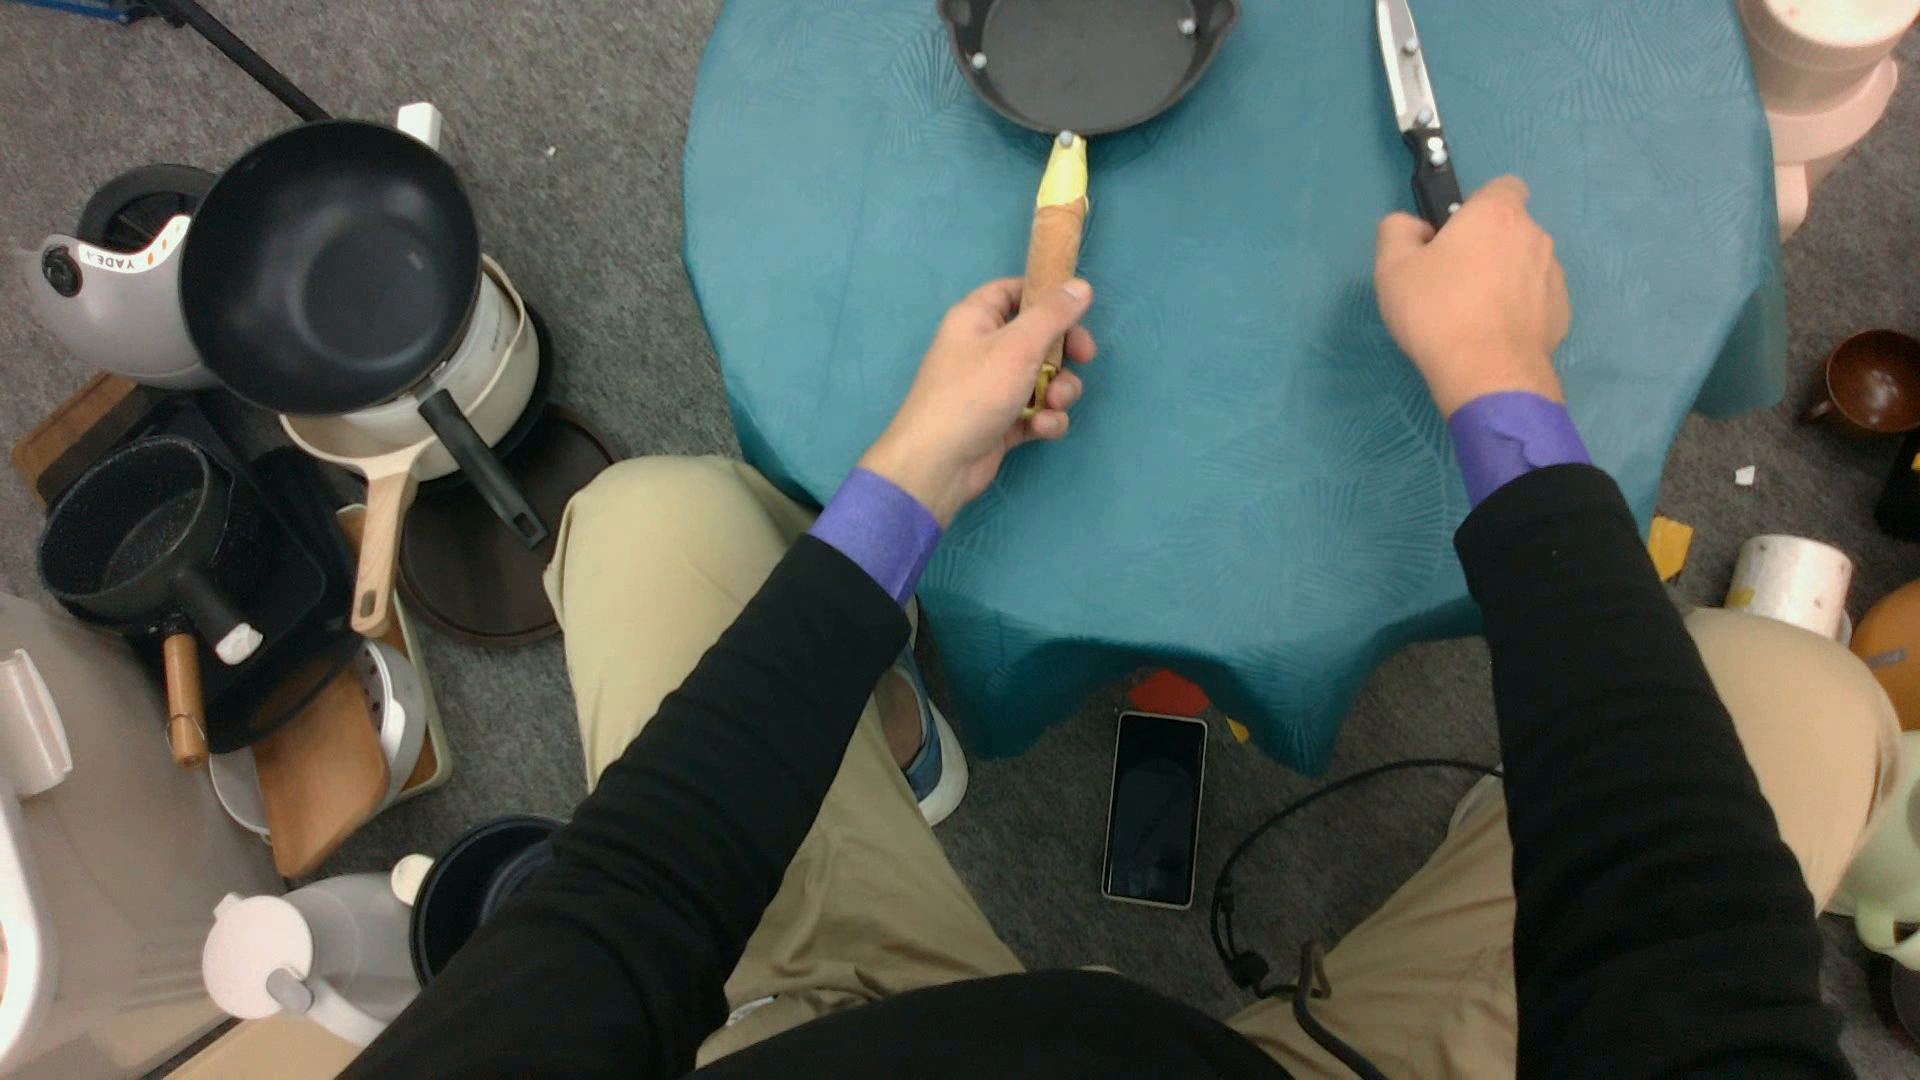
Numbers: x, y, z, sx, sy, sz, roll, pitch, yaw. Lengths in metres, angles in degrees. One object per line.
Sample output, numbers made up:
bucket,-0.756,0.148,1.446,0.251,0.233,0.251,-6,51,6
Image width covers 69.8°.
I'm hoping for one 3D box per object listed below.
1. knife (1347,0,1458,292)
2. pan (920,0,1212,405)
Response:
knife,0.235,-0.237,0.744,0.024,0.016,0.239,-2,67,-8
pan,0.045,-0.226,0.758,0.169,0.049,0.325,7,78,9
